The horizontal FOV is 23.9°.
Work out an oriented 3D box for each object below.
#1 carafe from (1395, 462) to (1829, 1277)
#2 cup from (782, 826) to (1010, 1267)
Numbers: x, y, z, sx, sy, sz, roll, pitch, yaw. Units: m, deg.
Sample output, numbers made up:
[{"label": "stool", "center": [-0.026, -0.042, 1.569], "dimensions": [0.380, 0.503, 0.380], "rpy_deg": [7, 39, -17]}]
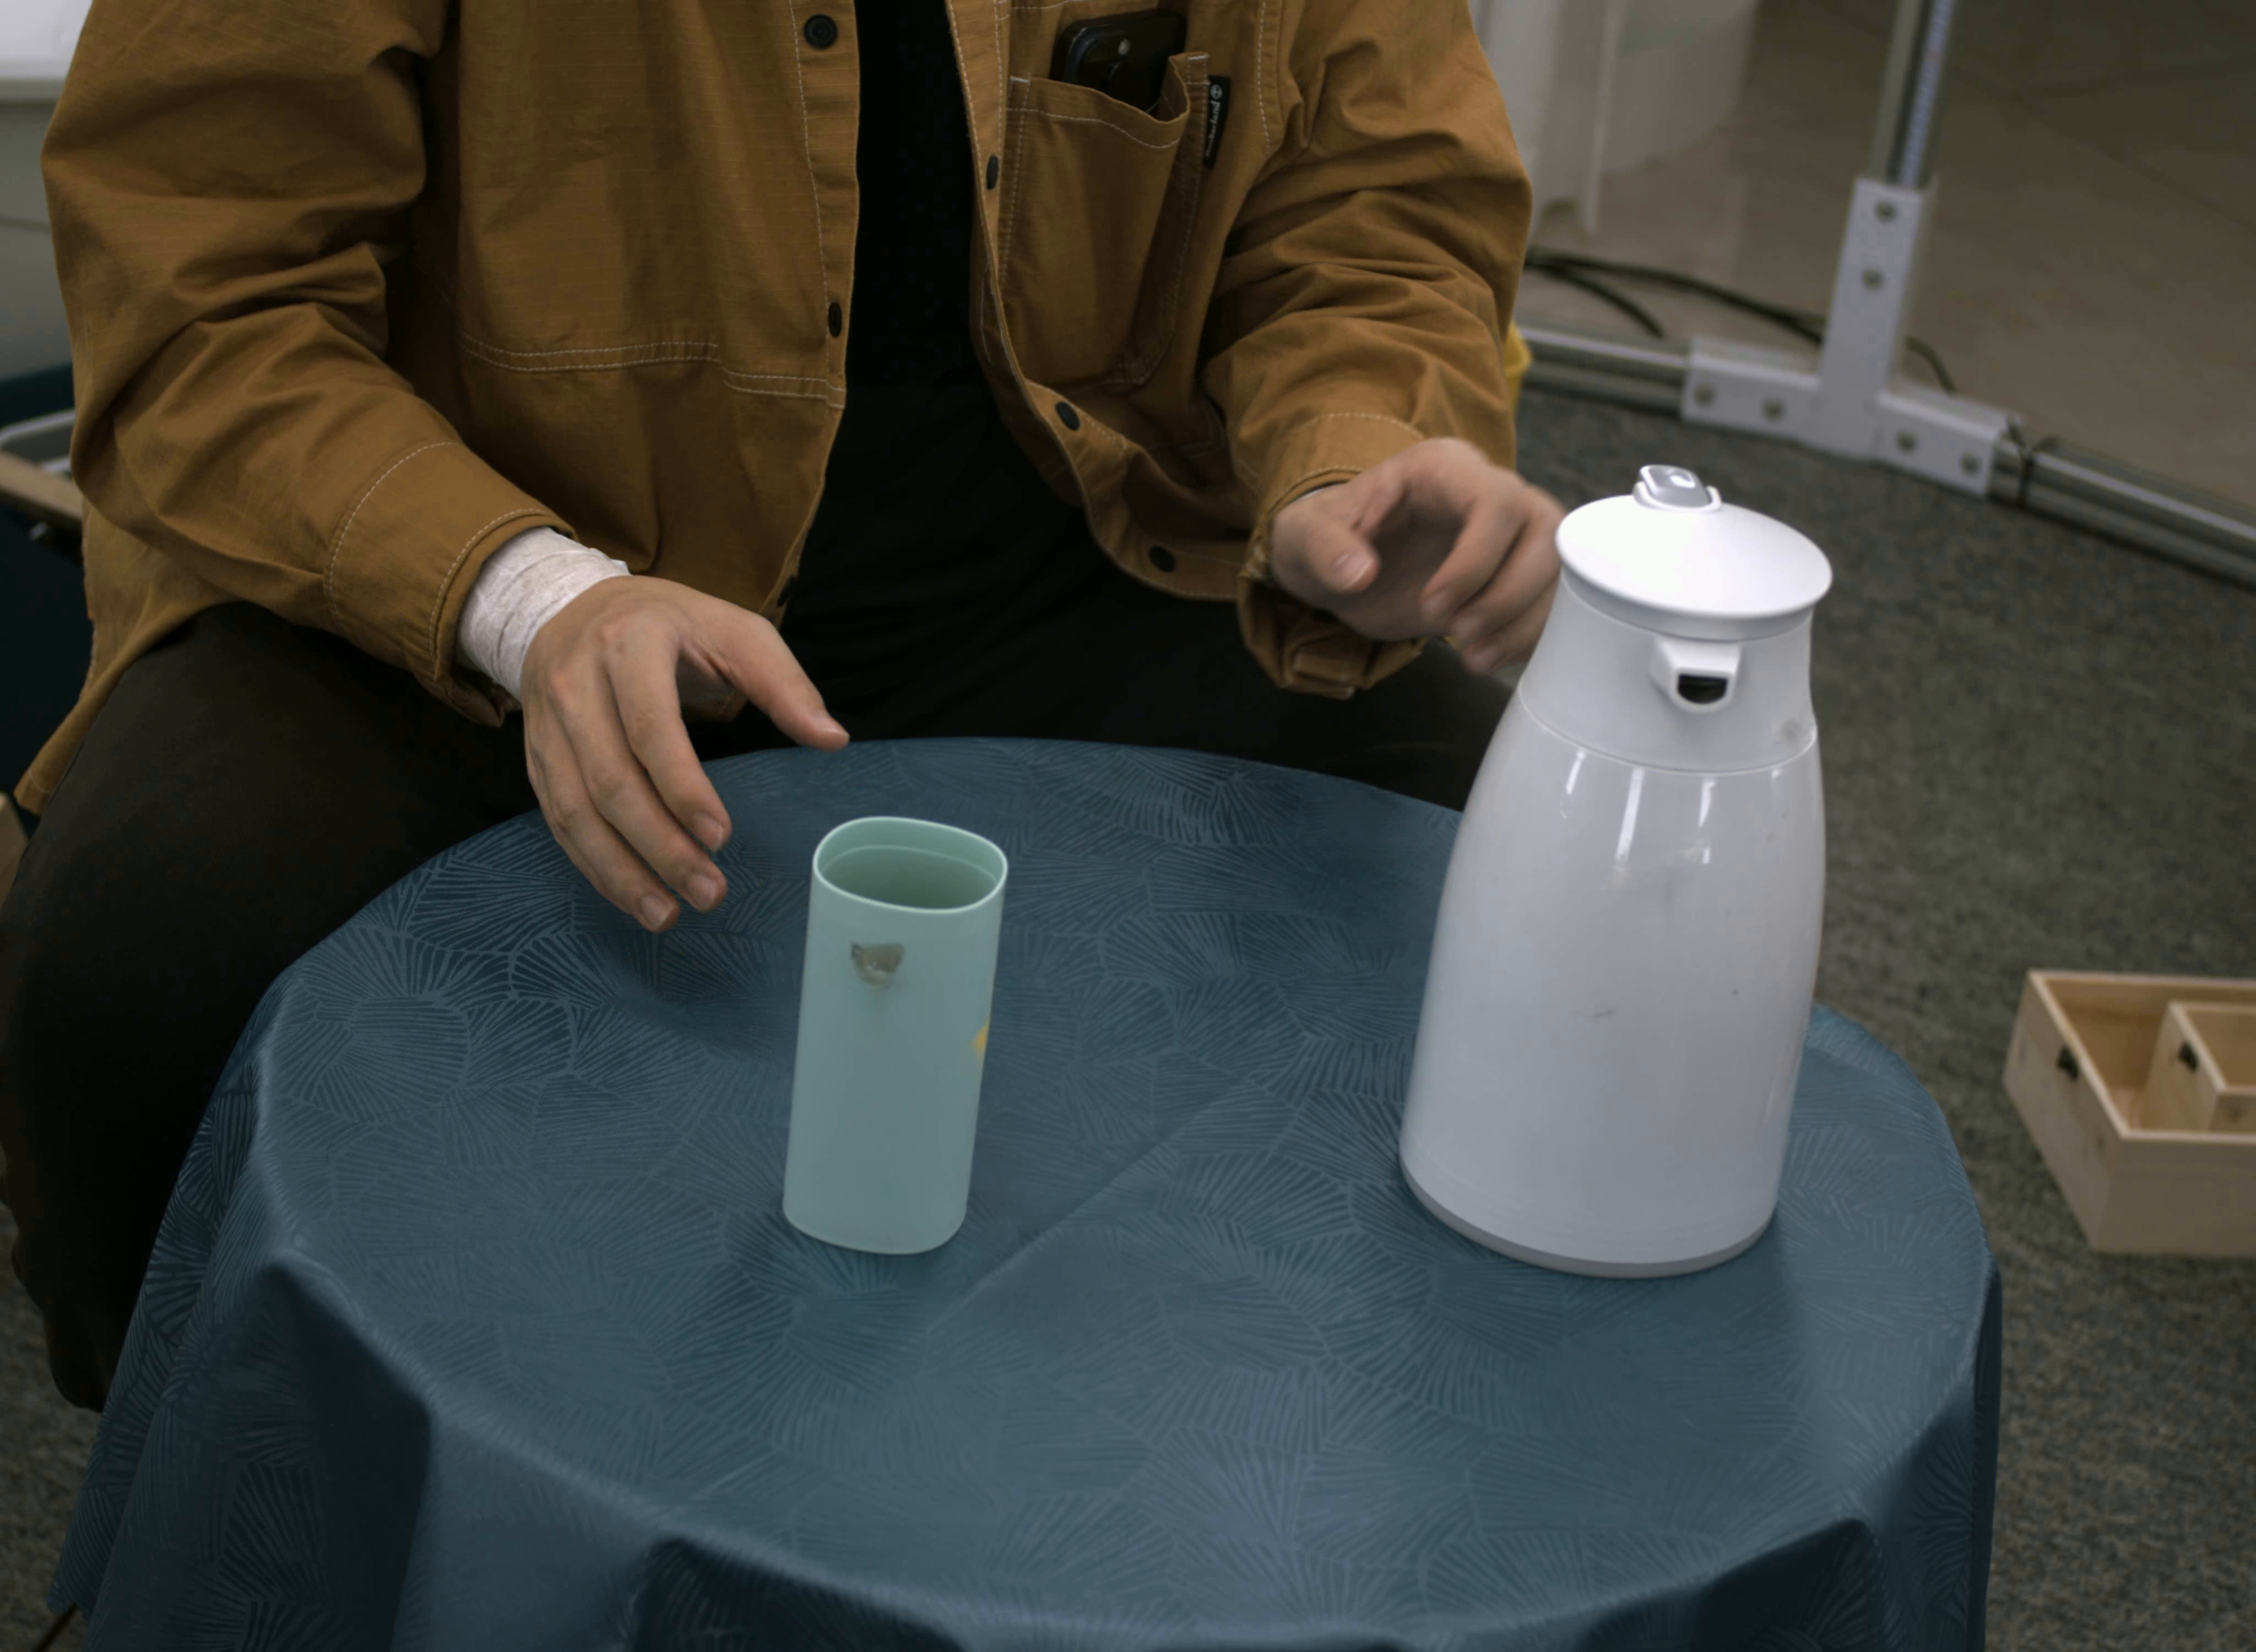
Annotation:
[{"label": "carafe", "center": [0.169, 0.004, 1.806], "dimensions": [0.132, 0.248, 0.169], "rpy_deg": [5, 26, -3]}, {"label": "cup", "center": [-0.079, 0.072, 1.753], "dimensions": [0.066, 0.132, 0.067], "rpy_deg": [6, 26, -3]}]
